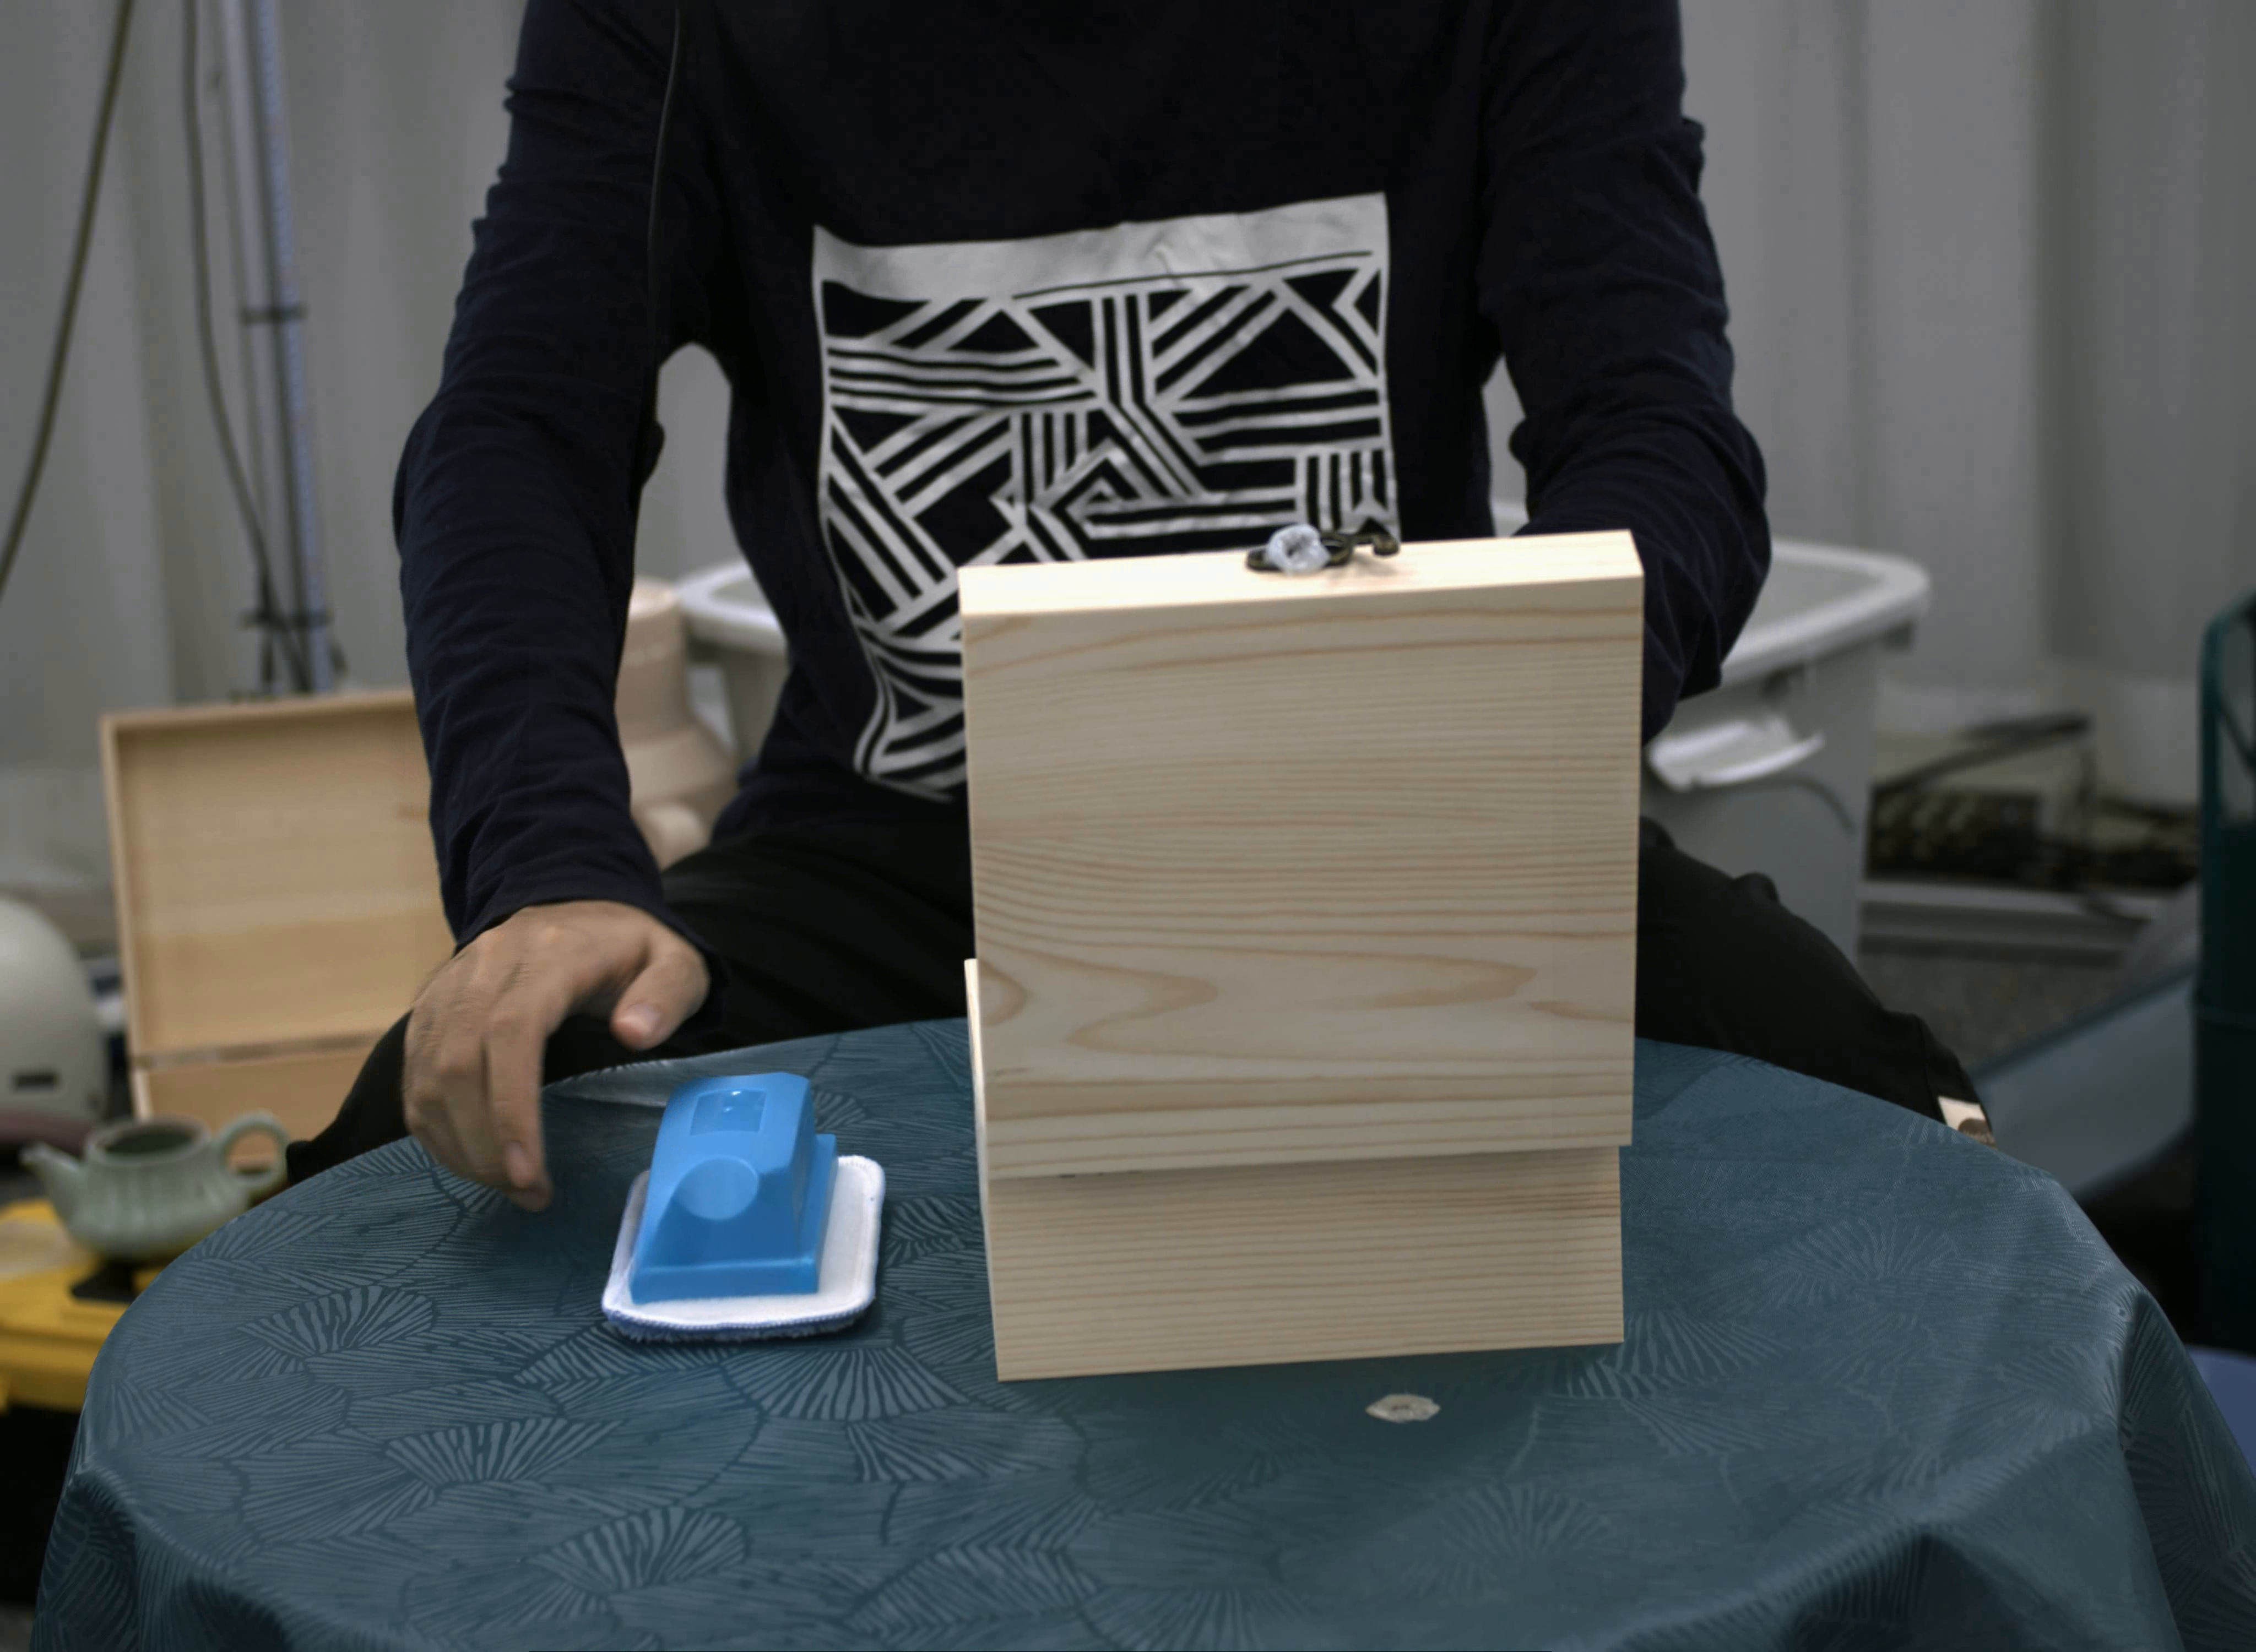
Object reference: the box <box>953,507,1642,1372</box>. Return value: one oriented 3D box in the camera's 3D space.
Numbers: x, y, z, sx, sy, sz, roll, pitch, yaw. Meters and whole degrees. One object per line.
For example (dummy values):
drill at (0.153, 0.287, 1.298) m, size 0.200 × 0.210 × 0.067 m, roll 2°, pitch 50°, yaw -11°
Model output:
box at (0.041, 0.016, 1.585) m, size 0.181 × 0.252 × 0.267 m, roll -4°, pitch 14°, yaw -4°

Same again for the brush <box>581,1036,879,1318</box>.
brush at (-0.120, 0.103, 1.662) m, size 0.083 × 0.055 × 0.145 m, roll 1°, pitch 17°, yaw 1°
